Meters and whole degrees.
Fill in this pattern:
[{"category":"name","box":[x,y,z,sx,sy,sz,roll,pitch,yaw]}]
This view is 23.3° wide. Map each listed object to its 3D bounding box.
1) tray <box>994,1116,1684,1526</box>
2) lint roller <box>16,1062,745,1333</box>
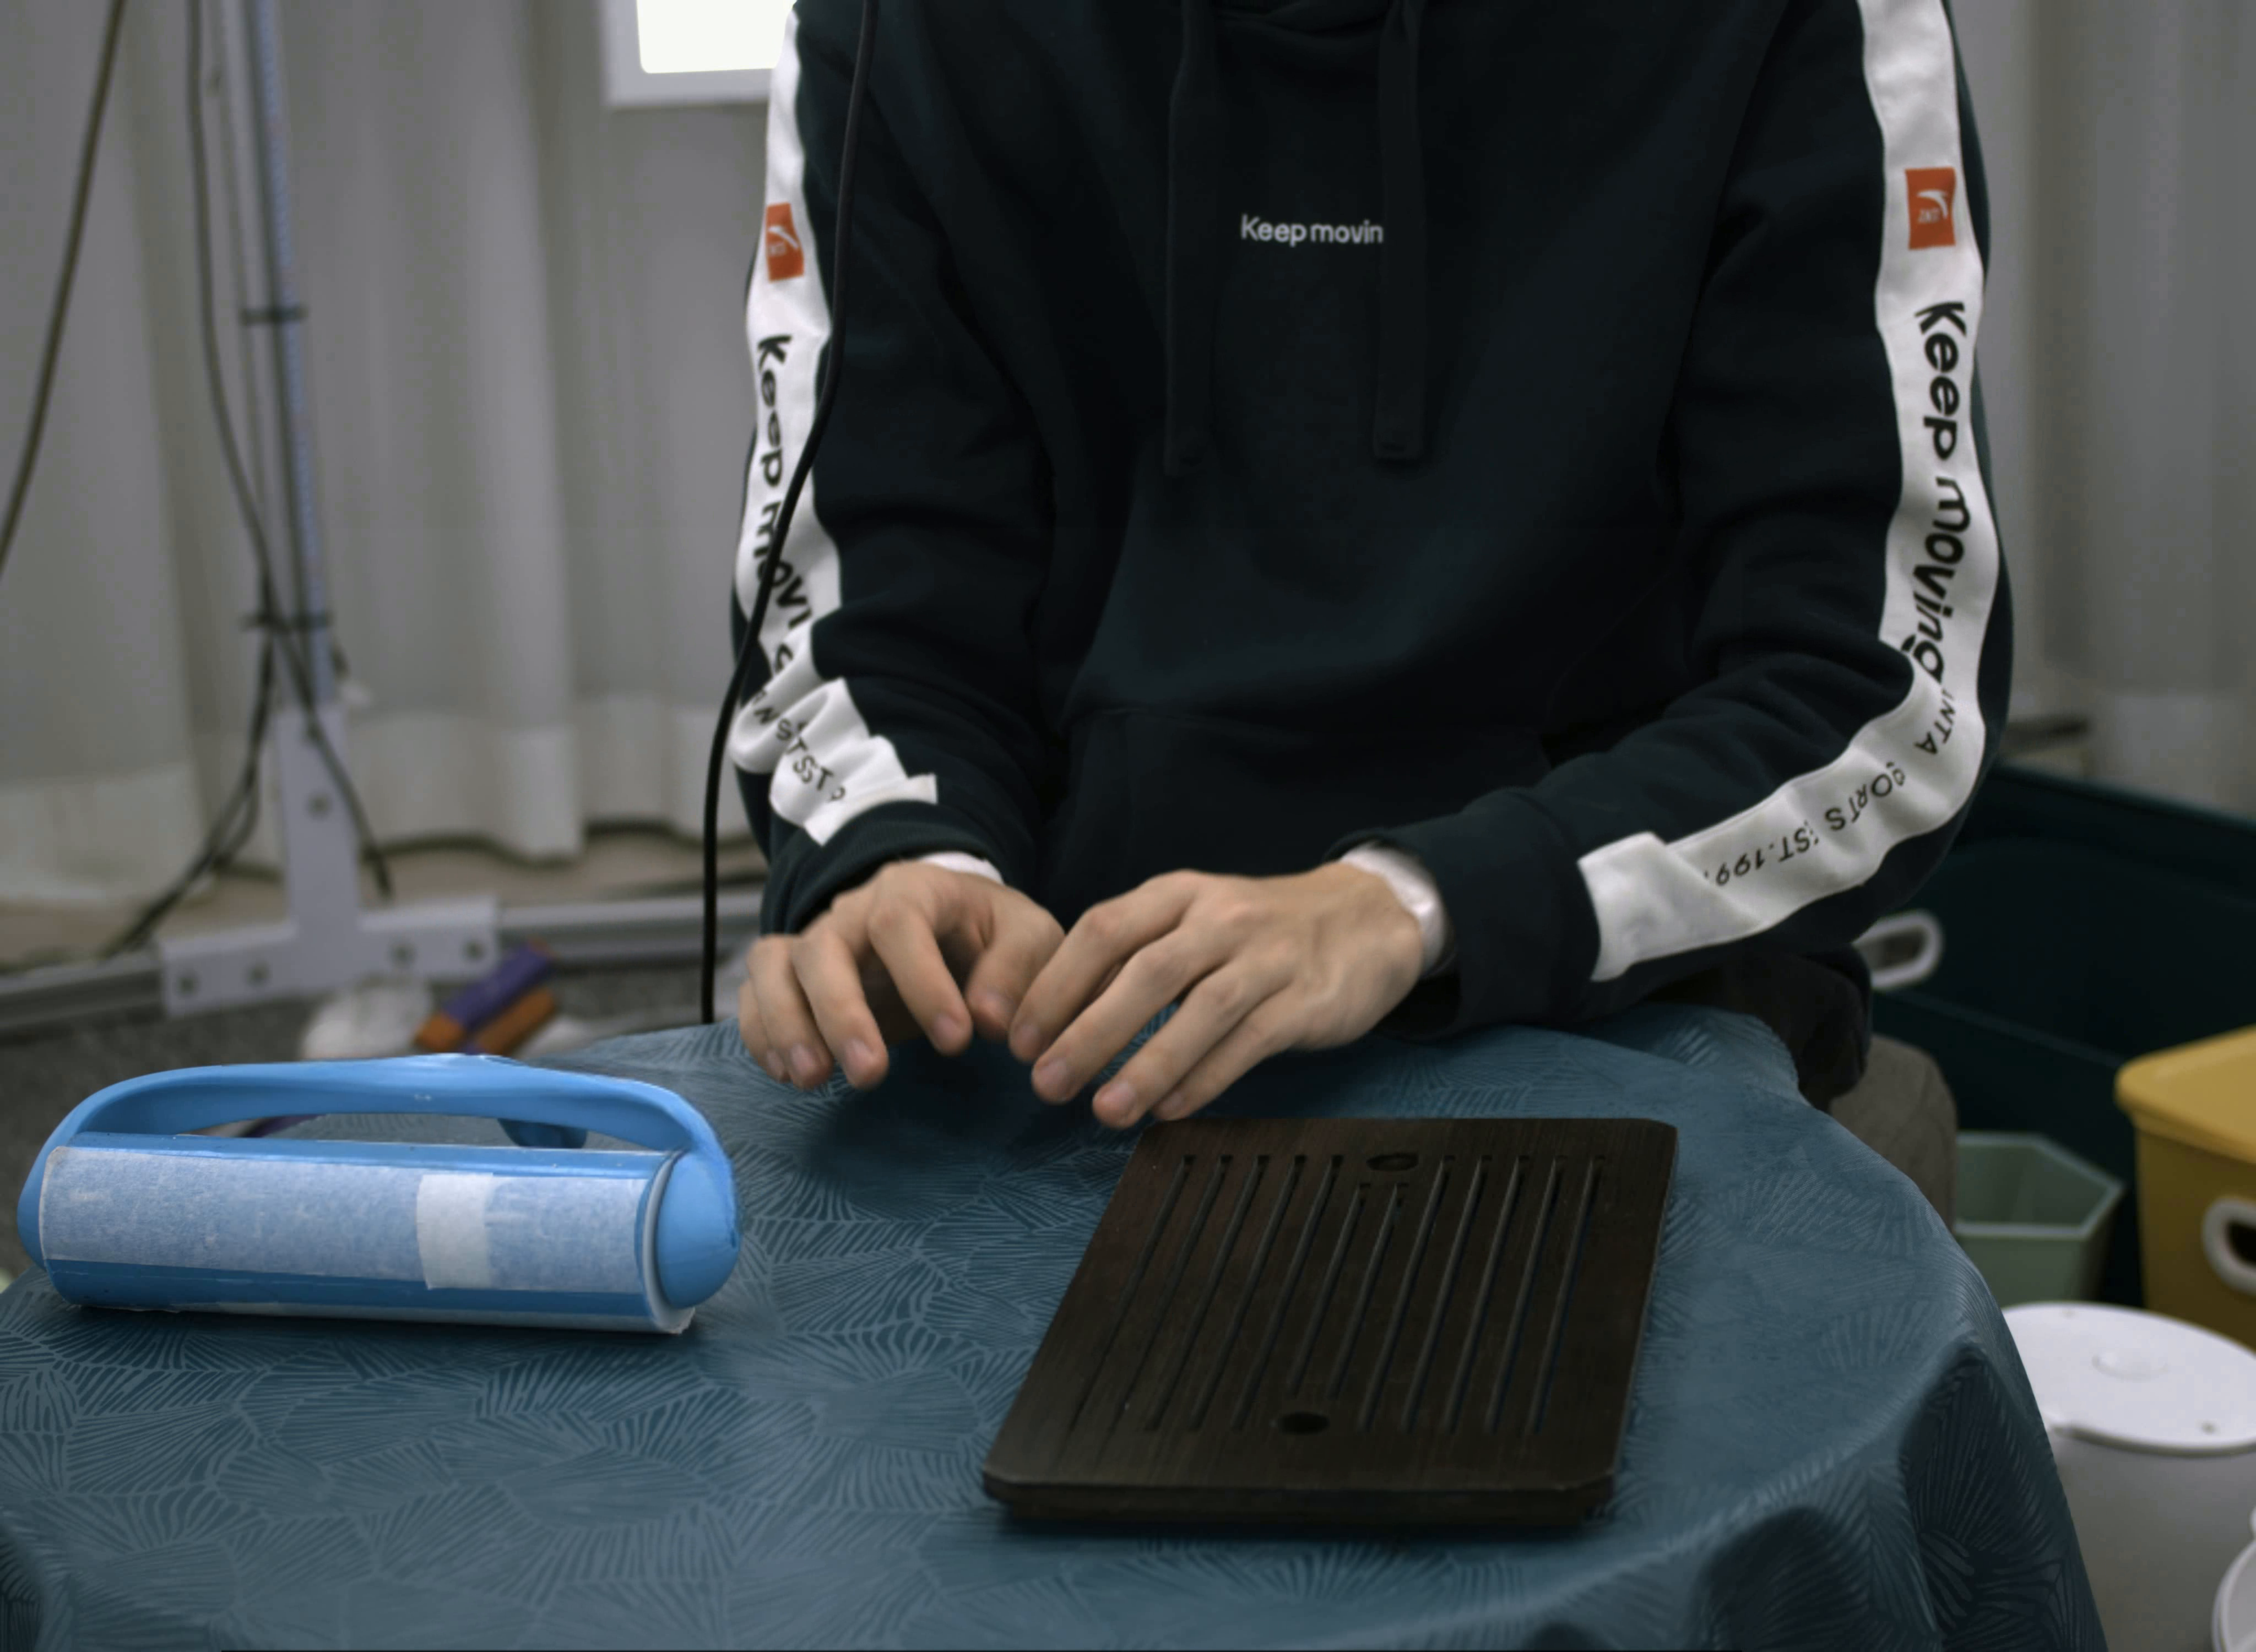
[{"category":"tray","box":[0.069,0.140,1.572,0.170,0.018,0.307,-1,15,9]},{"category":"lint roller","box":[-0.212,0.103,1.687,0.228,0.067,0.181,-2,16,13]}]
